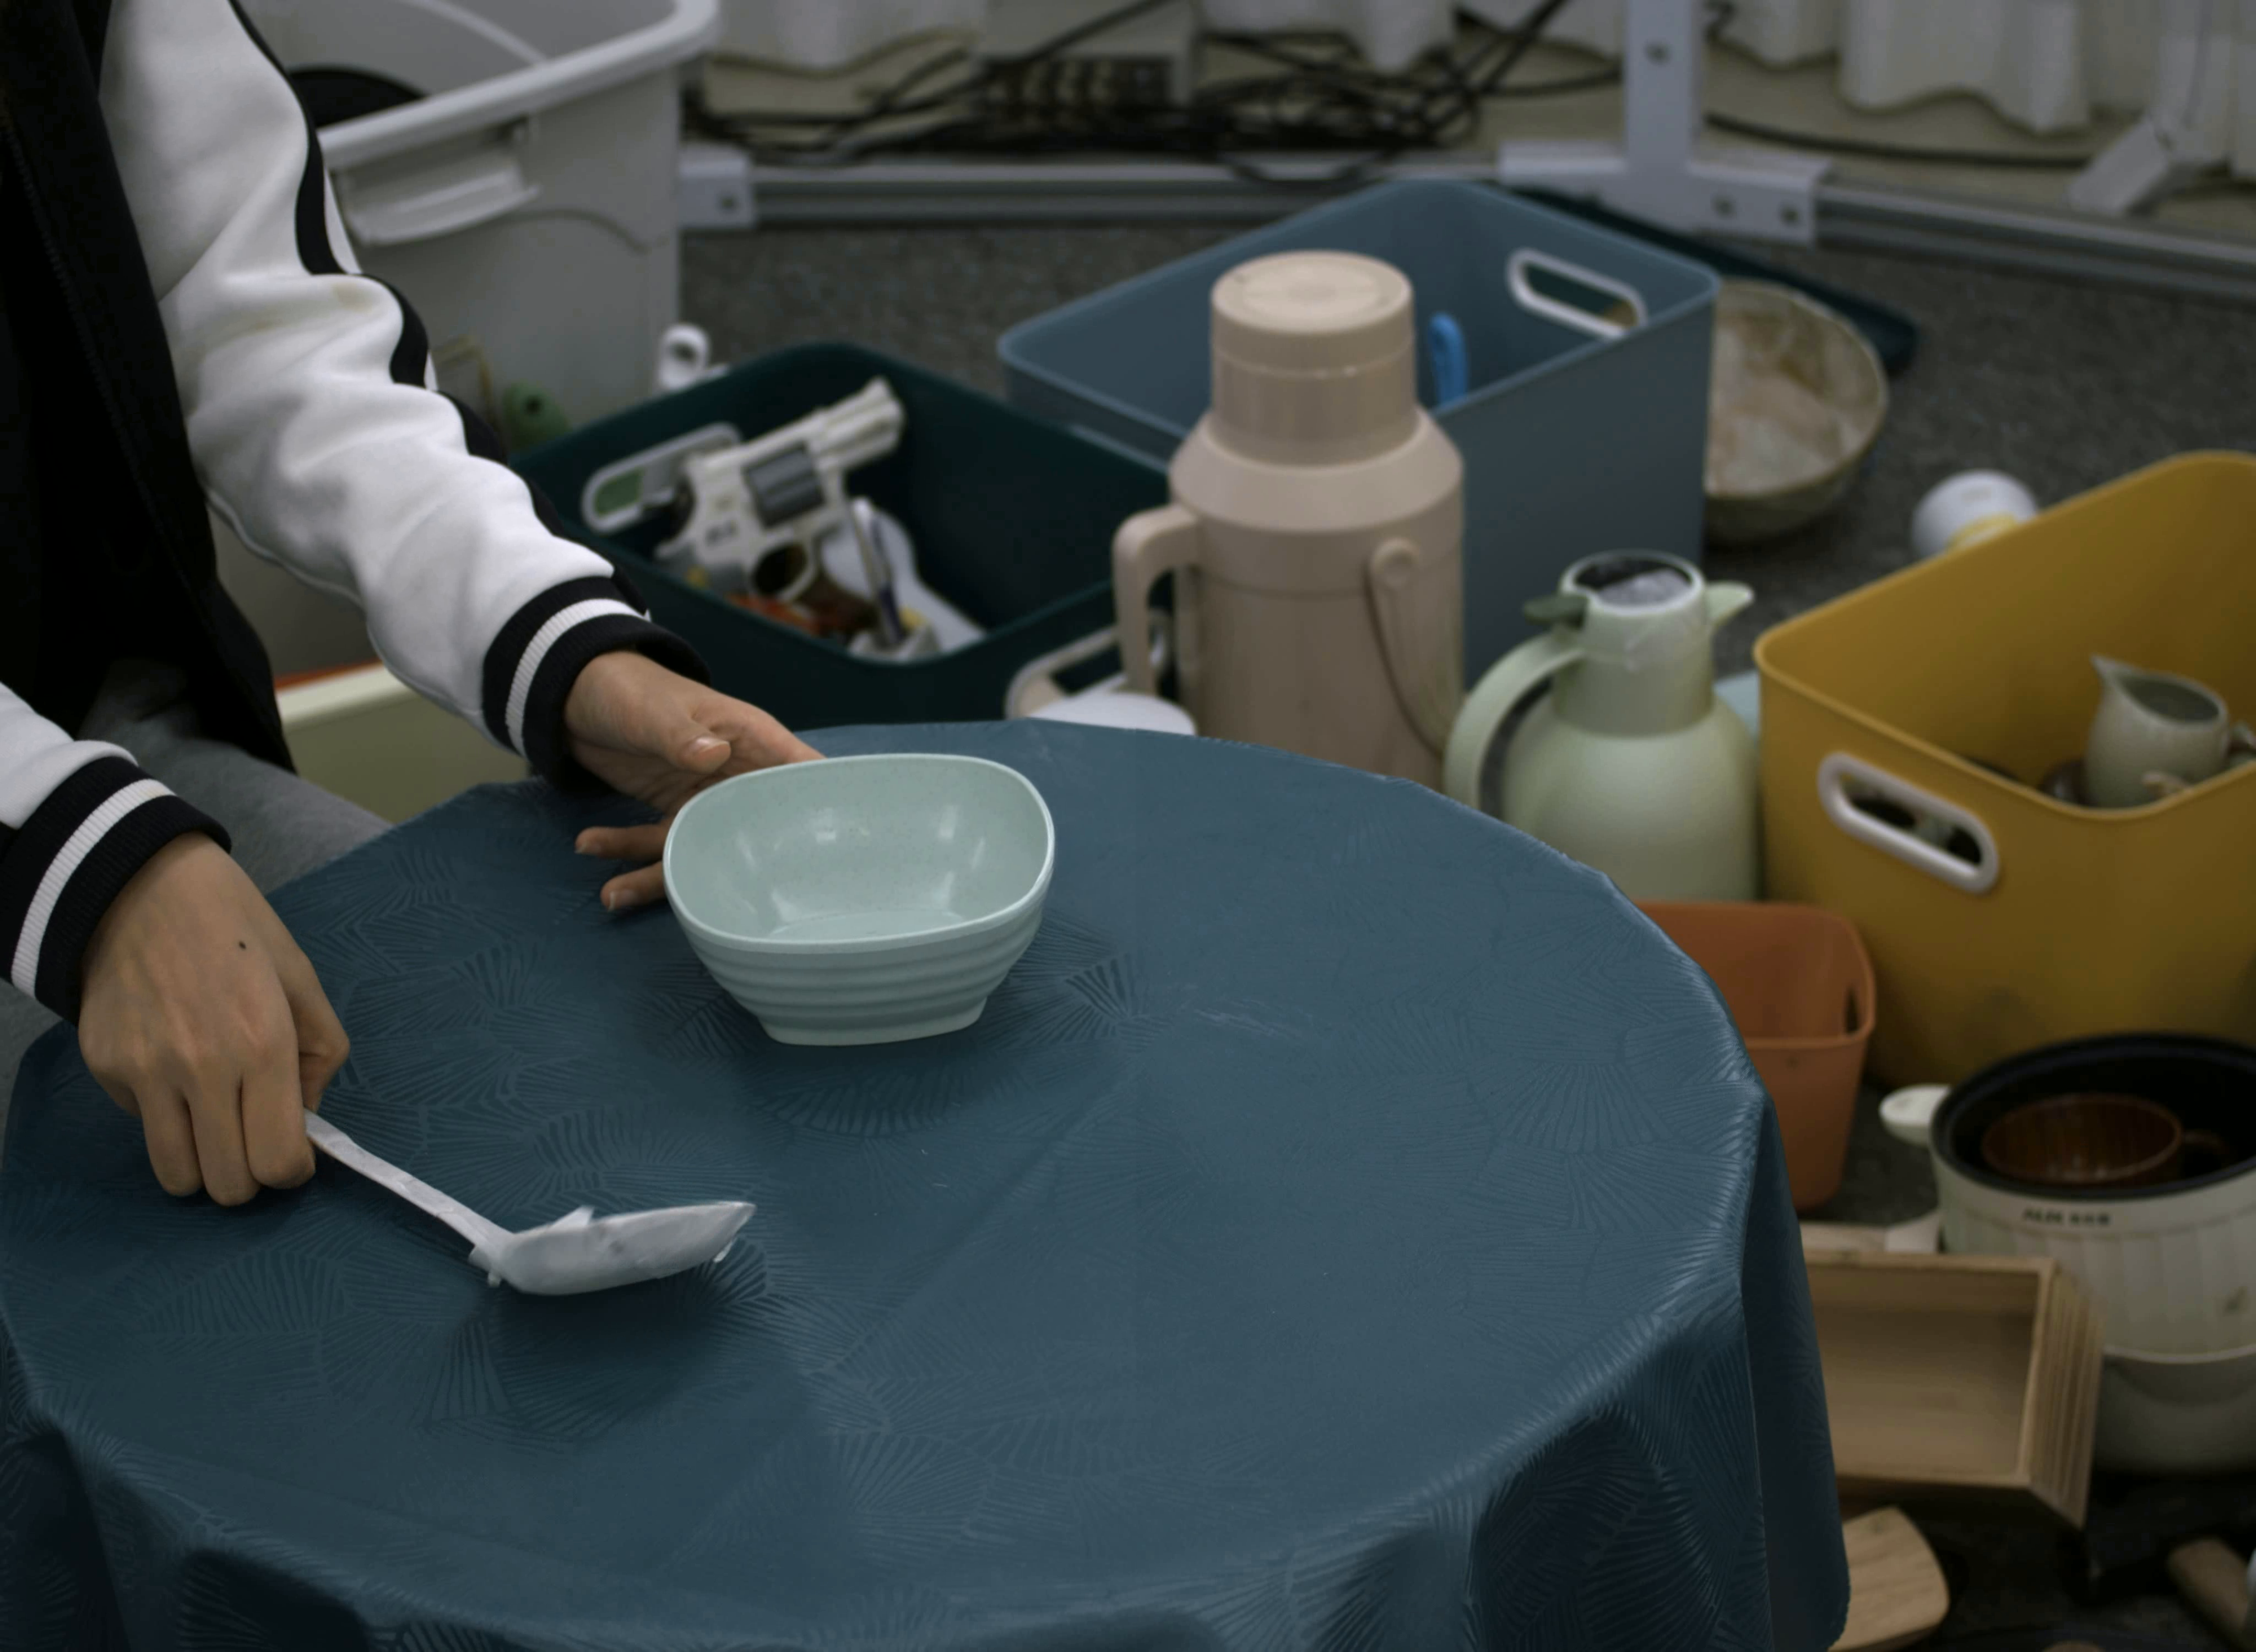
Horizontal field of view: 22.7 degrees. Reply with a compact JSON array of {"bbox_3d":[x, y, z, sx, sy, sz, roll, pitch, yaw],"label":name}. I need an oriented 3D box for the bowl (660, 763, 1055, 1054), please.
[{"bbox_3d":[-0.093,0.035,1.983,0.151,0.058,0.154,-2,27,1],"label":"bowl"}]

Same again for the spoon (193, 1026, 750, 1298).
[{"bbox_3d":[-0.227,0.097,1.868,0.101,0.059,0.277,3,18,-43],"label":"spoon"}]
